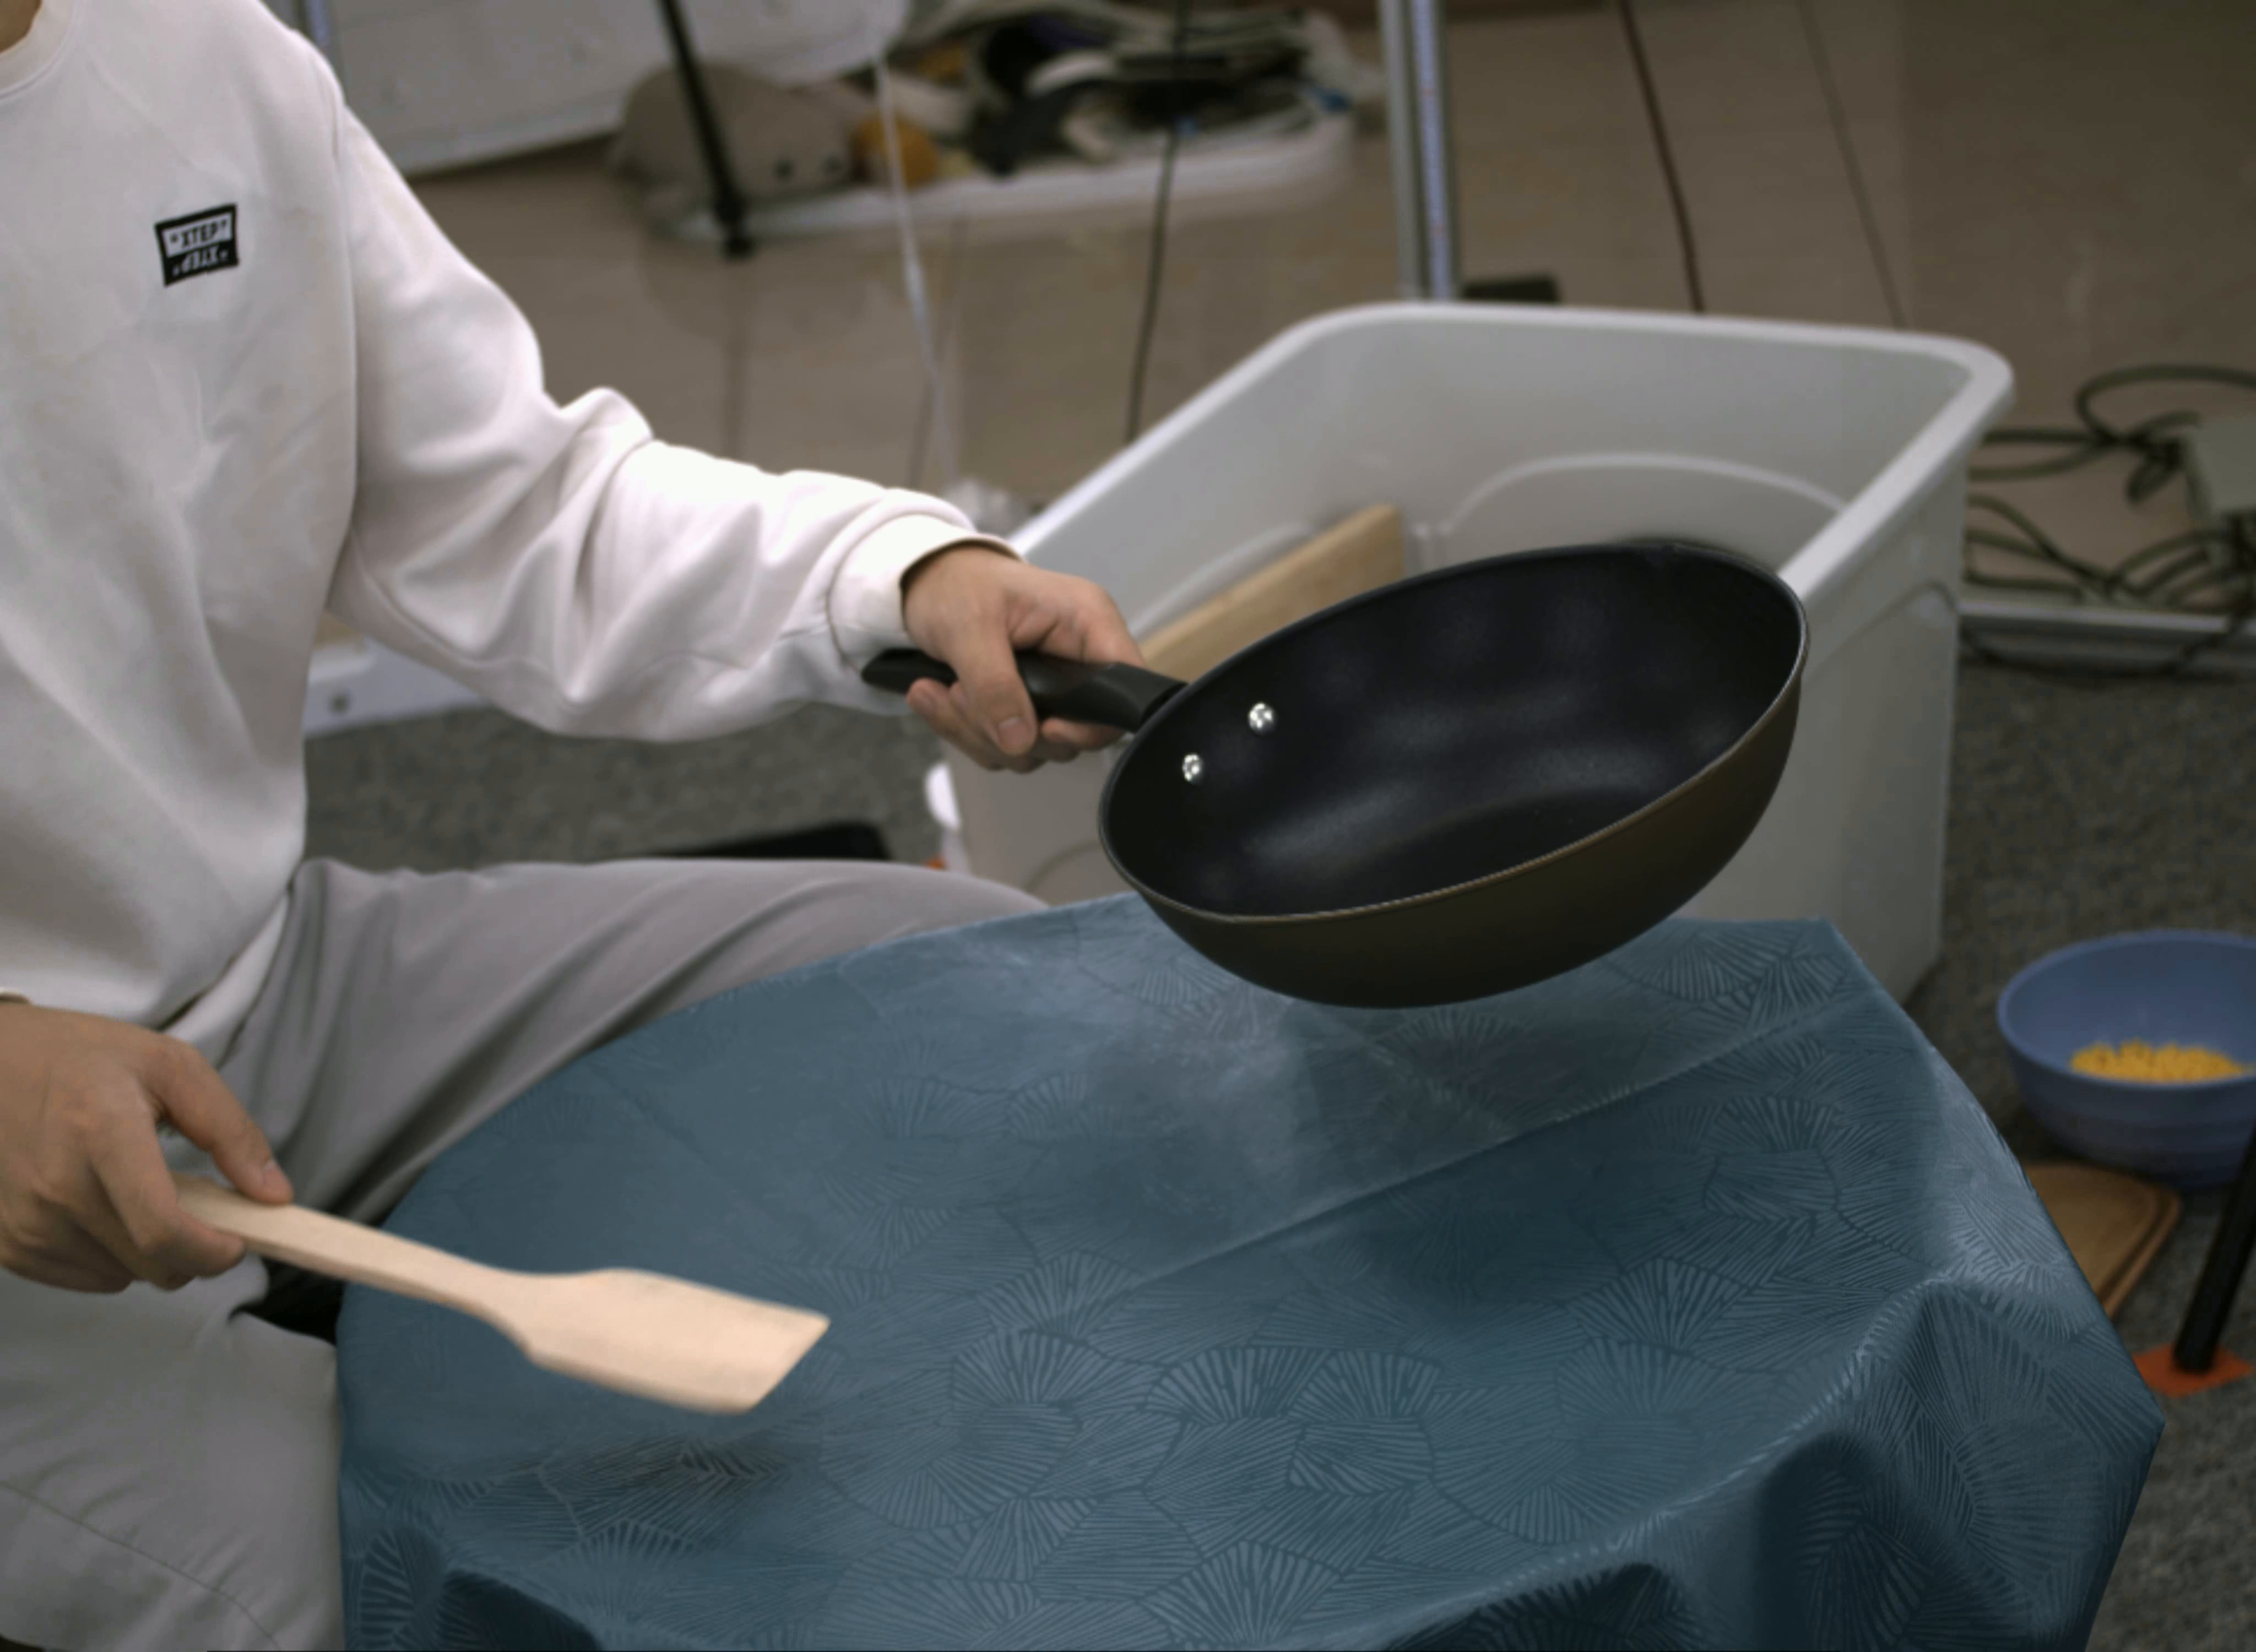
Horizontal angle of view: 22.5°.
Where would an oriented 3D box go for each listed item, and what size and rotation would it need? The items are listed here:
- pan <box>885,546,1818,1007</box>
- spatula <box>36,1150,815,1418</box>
[{"bbox_3d":[0.070,-0.017,2.214,0.461,0.088,0.285,8,36,45],"label":"pan"},{"bbox_3d":[-0.256,0.158,2.004,0.292,0.011,0.071,14,27,16],"label":"spatula"}]
